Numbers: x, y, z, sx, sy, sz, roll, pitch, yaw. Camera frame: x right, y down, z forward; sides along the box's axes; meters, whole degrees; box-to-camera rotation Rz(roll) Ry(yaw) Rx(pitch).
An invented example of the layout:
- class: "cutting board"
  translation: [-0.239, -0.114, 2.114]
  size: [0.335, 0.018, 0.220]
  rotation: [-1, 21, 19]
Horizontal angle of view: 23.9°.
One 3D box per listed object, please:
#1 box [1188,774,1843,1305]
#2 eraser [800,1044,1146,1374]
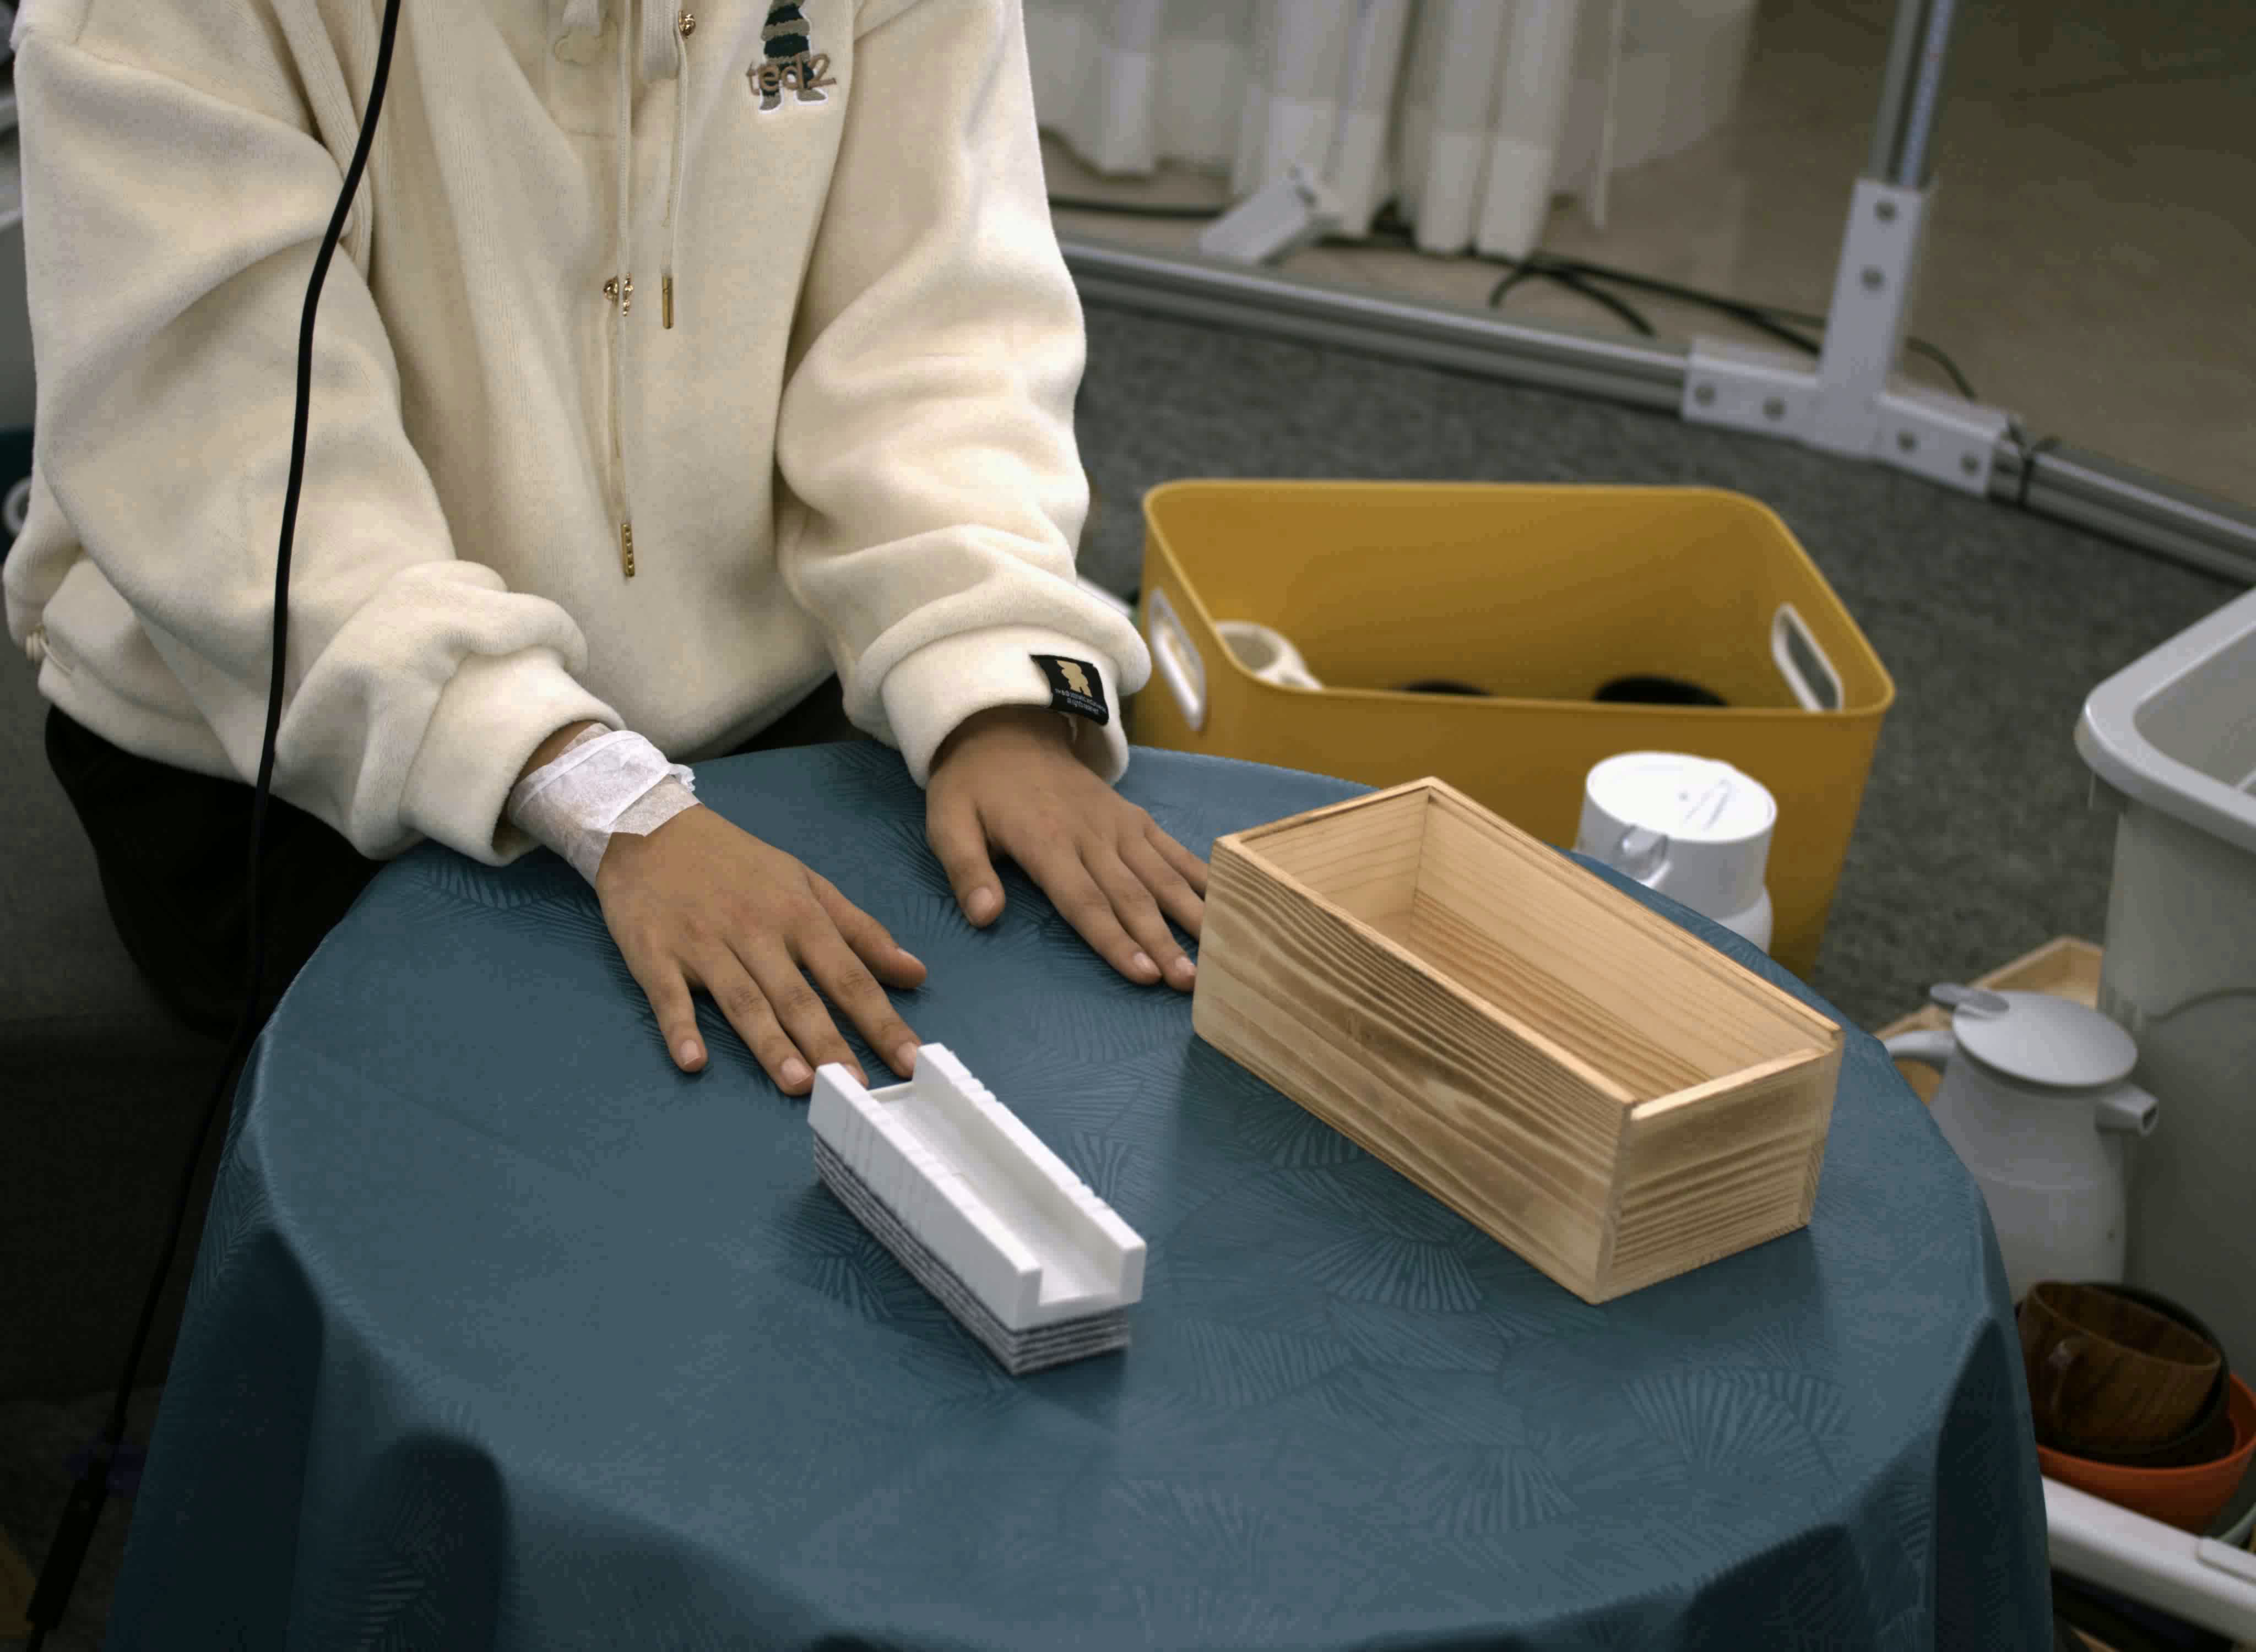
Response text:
- class: "box"
  translation: [0.131, 0.070, 1.849]
  size: [0.107, 0.080, 0.213]
  rotation: [-15, 35, -37]
- class: "eraser"
  translation: [-0.053, 0.124, 1.737]
  size: [0.049, 0.046, 0.135]
  rotation: [-14, 35, -31]
